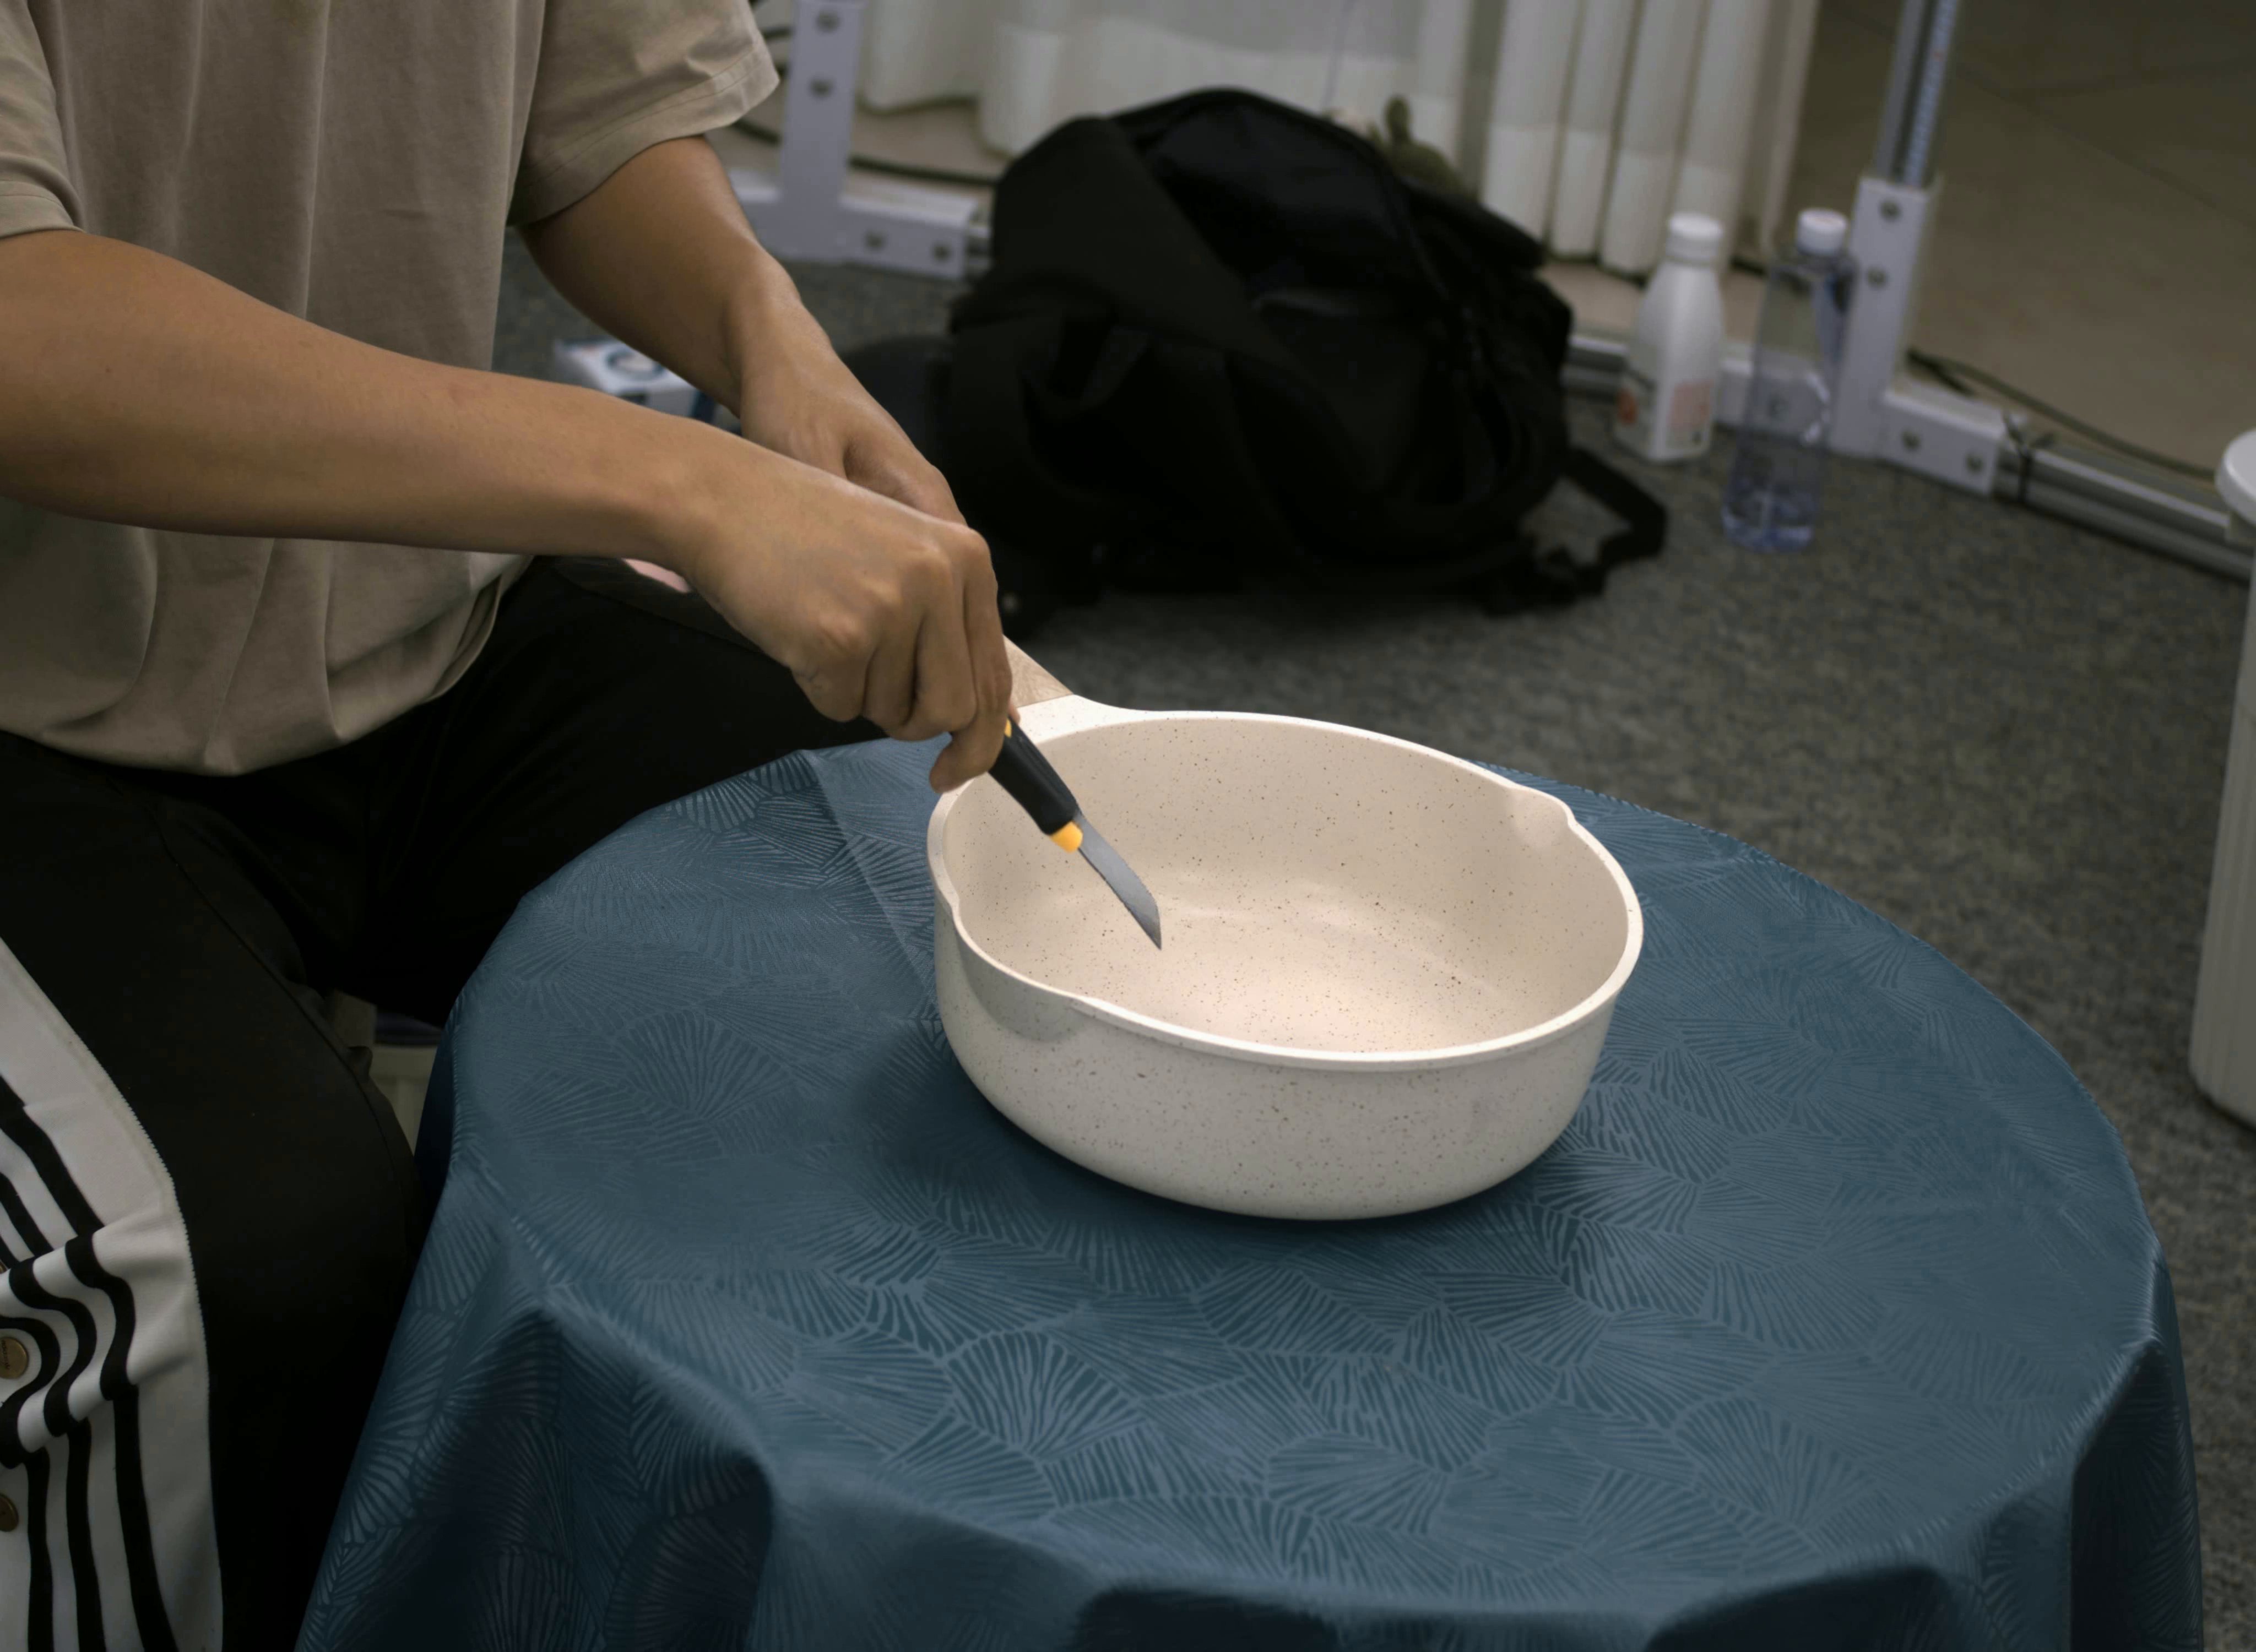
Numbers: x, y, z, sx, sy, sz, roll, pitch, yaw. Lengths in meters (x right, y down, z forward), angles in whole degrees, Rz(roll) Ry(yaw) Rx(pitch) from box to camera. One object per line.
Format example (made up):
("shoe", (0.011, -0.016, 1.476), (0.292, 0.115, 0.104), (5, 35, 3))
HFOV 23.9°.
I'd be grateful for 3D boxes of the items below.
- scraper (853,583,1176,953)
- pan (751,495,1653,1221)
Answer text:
("scraper", (-0.038, -0.021, 1.818), (0.015, 0.169, 0.039), (-29, 30, 26))
("pan", (-0.002, 0.007, 1.927), (0.262, 0.101, 0.438), (-18, 36, -35))
